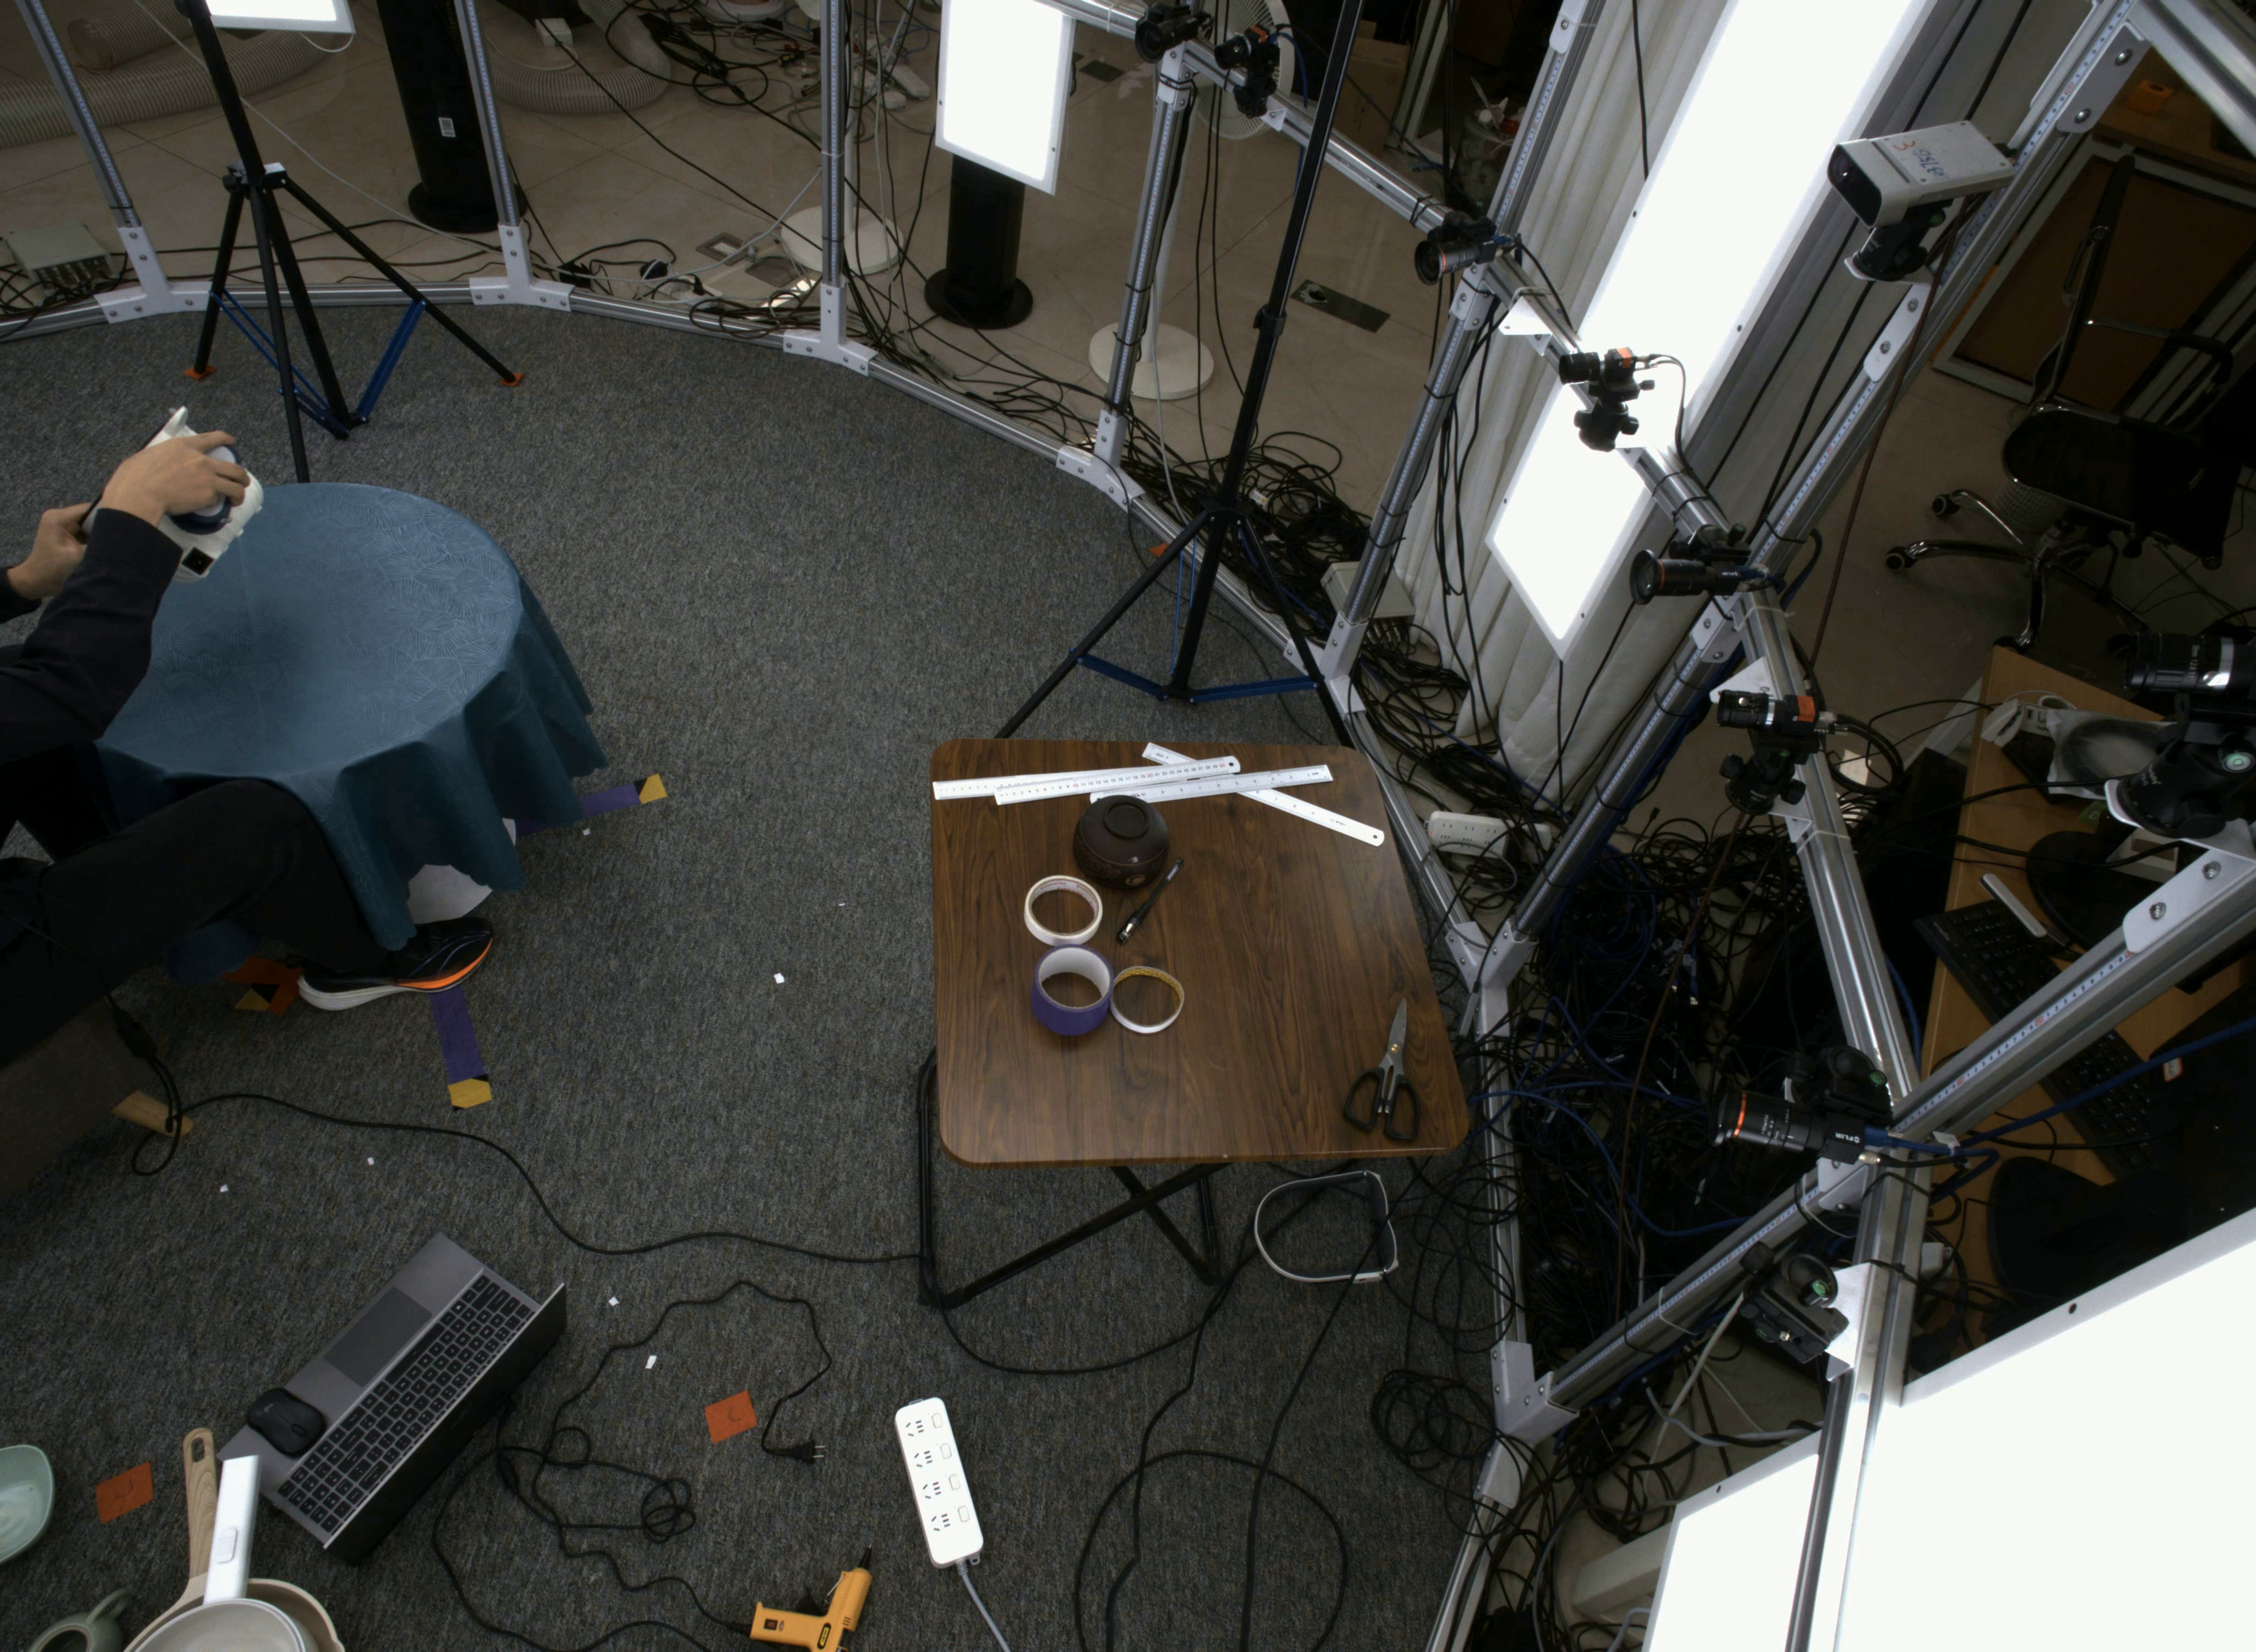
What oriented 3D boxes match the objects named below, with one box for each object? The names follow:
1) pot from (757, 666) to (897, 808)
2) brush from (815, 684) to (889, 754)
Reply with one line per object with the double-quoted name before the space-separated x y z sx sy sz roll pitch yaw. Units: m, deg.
"pot" -0.451 -0.121 1.997 0.142 0.238 0.192 57 16 5
"brush" -0.401 -0.153 1.881 0.068 0.061 0.121 49 53 -1
